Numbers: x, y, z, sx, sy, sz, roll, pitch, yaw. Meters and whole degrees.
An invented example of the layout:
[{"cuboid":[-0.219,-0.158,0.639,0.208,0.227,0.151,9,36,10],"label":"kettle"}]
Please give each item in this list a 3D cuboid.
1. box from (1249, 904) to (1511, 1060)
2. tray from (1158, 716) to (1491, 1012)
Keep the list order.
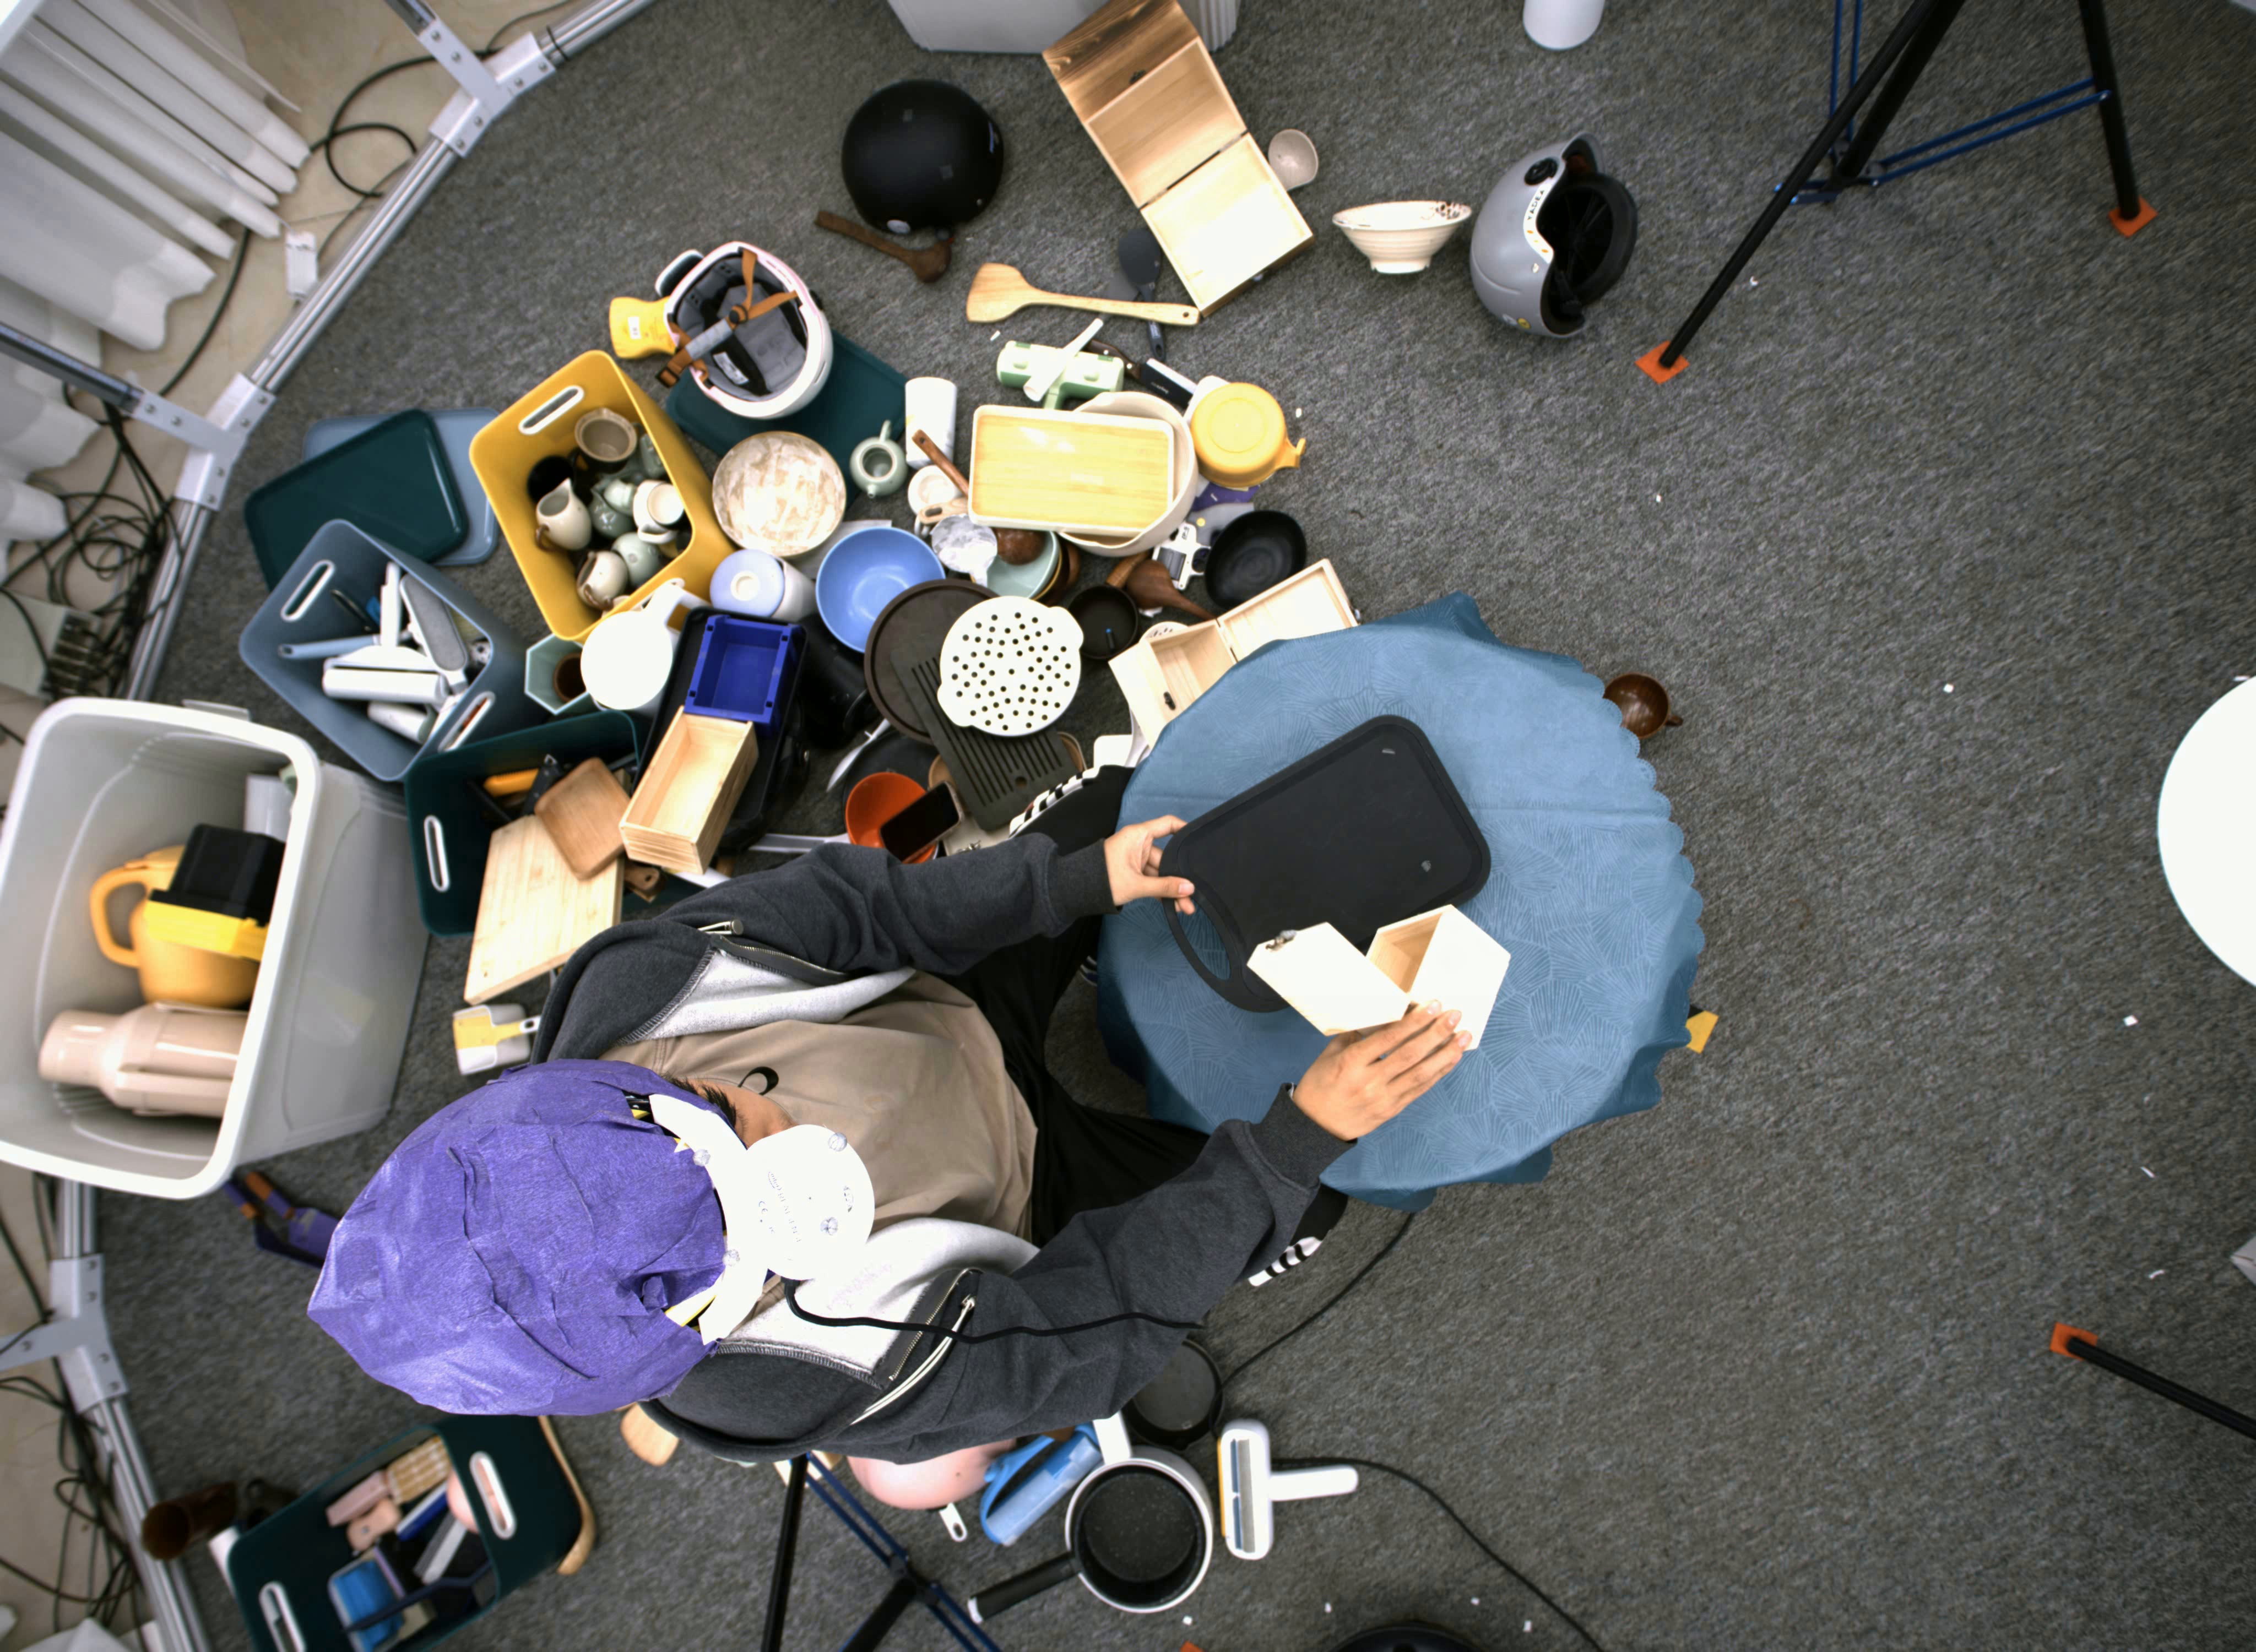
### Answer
[{"cuboid":[0.221,0.115,1.206,0.185,0.104,0.131,38,61,-18],"label":"box"},{"cuboid":[0.193,0.041,1.387,0.325,0.010,0.211,-29,92,-2],"label":"tray"}]
